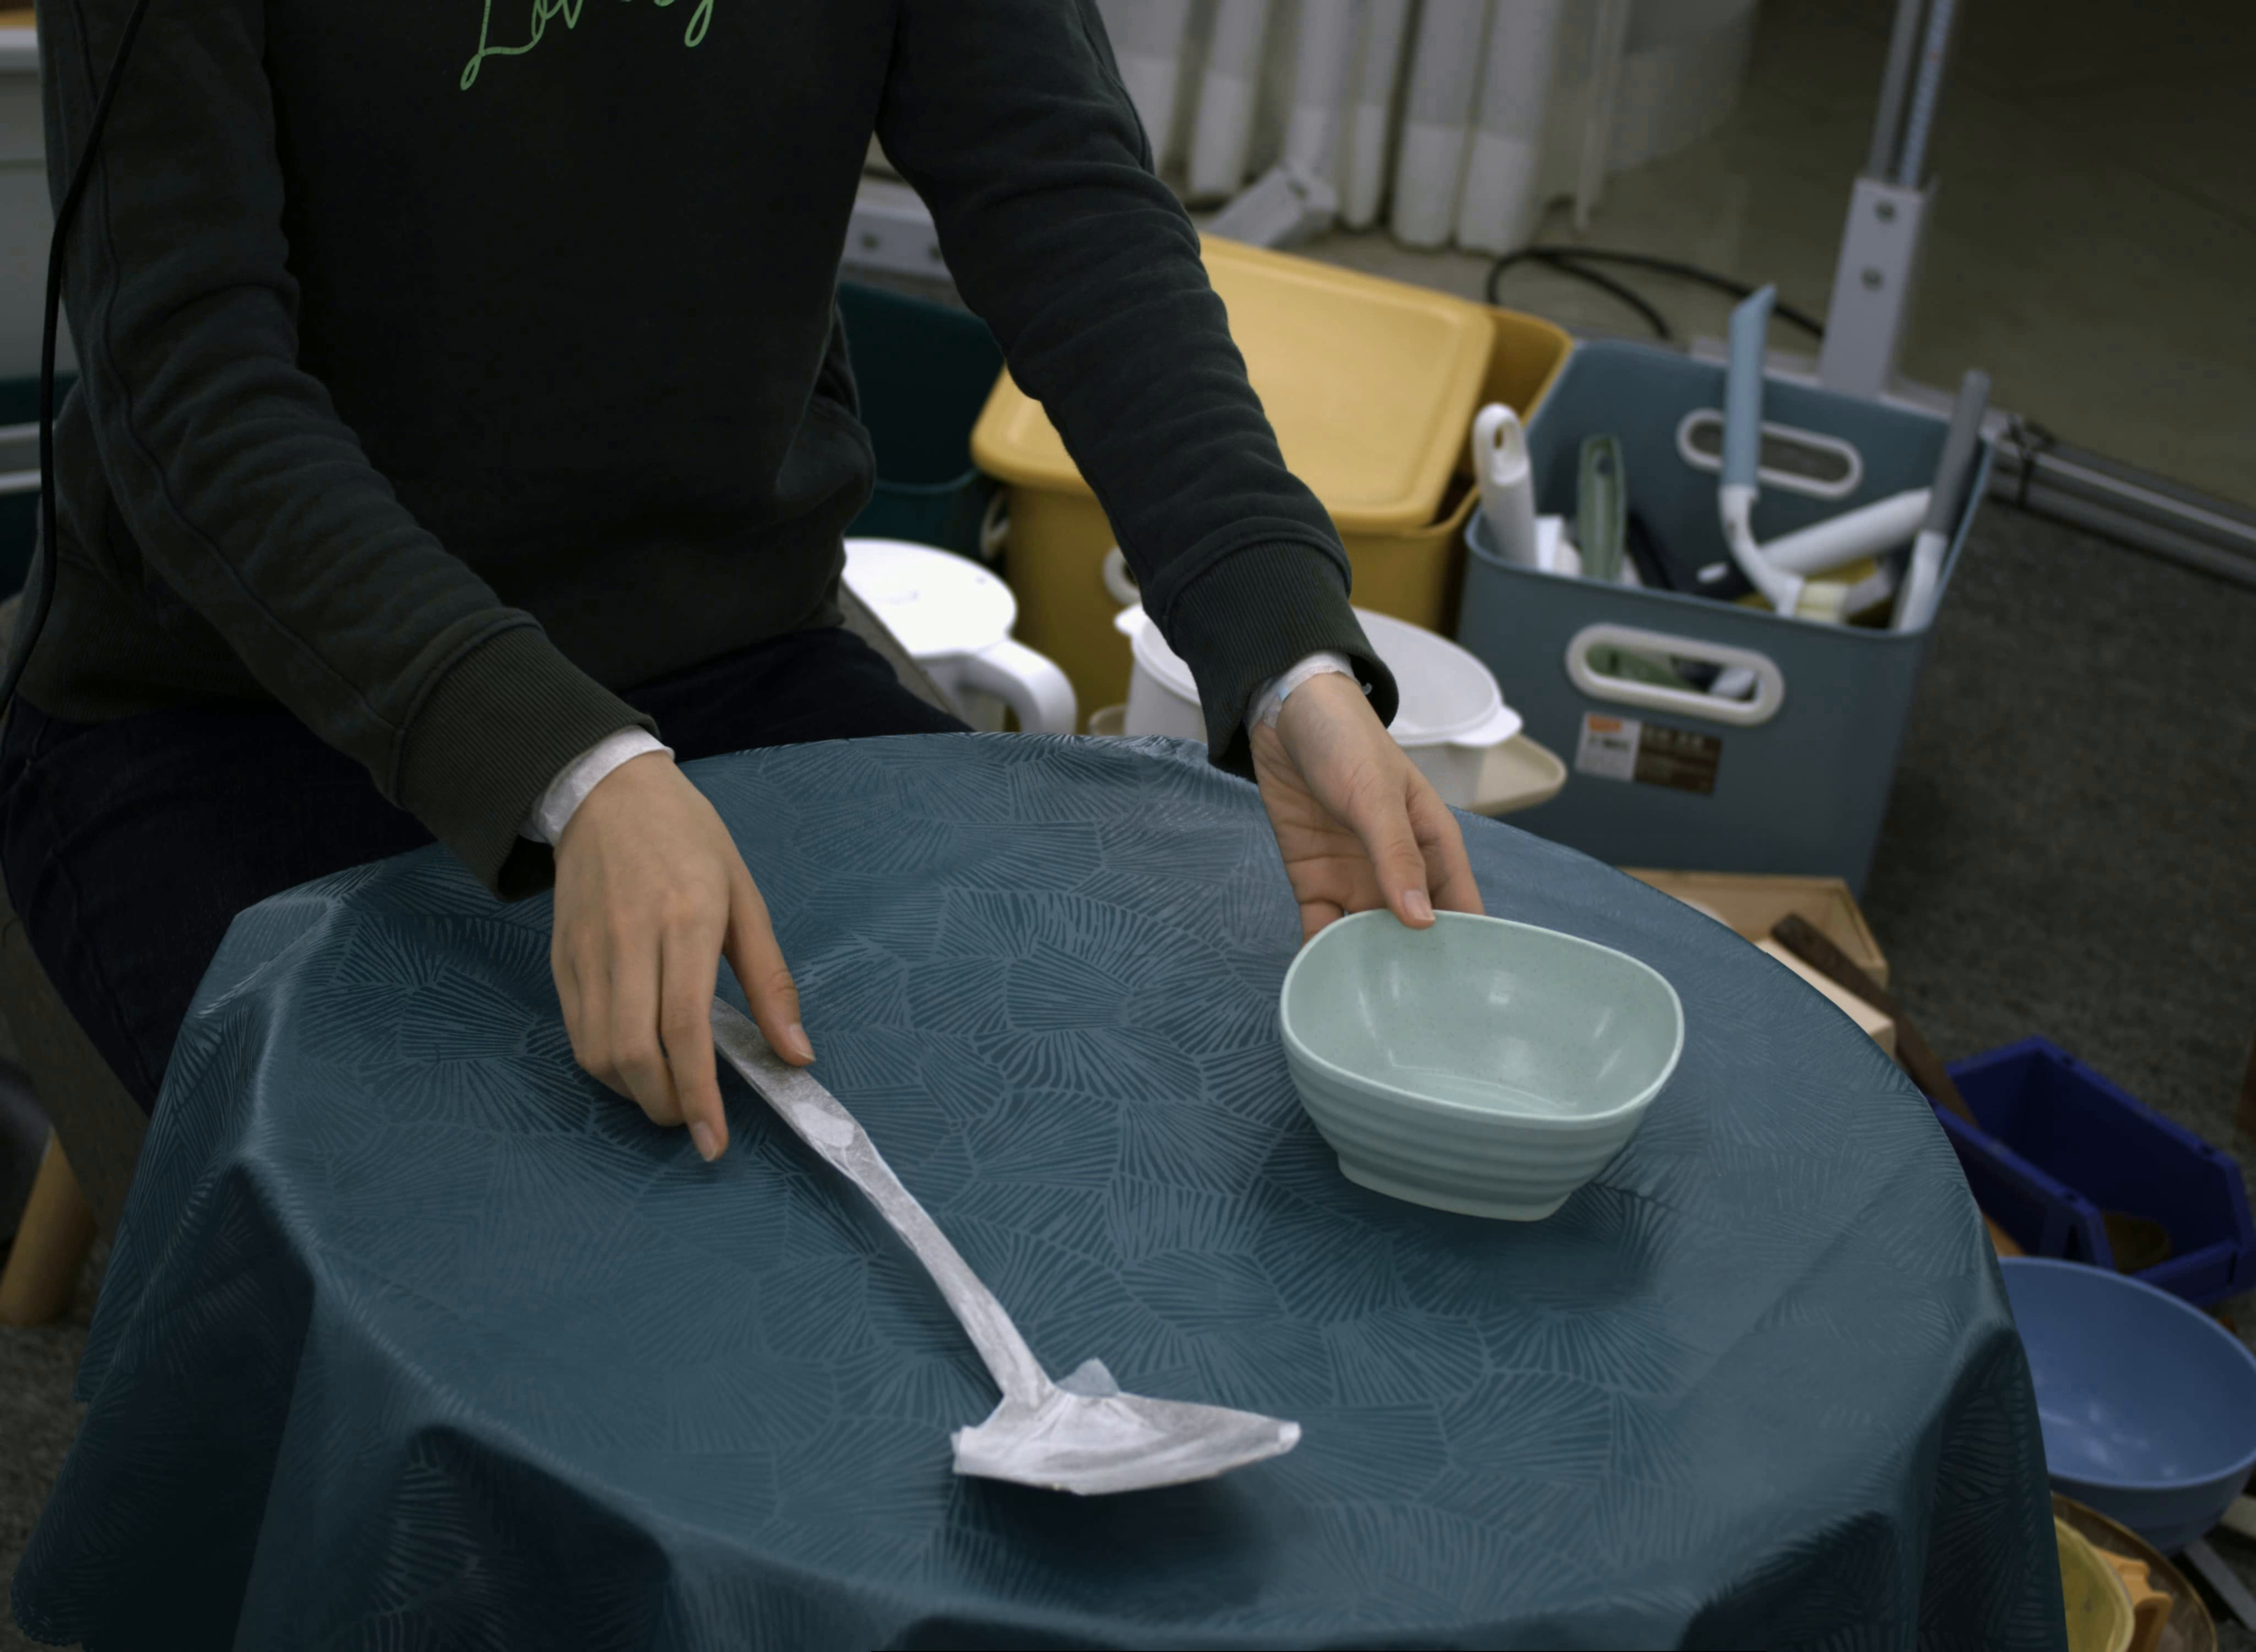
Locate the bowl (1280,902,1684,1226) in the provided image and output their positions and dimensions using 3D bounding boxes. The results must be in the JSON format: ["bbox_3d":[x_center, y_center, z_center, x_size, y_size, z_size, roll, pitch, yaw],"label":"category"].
[{"bbox_3d":[0.118,0.088,1.836,0.151,0.058,0.152,7,28,-4],"label":"bowl"}]

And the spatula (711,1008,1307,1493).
[{"bbox_3d":[-0.063,0.130,1.731,0.098,0.044,0.368,-9,31,-26],"label":"spatula"}]
